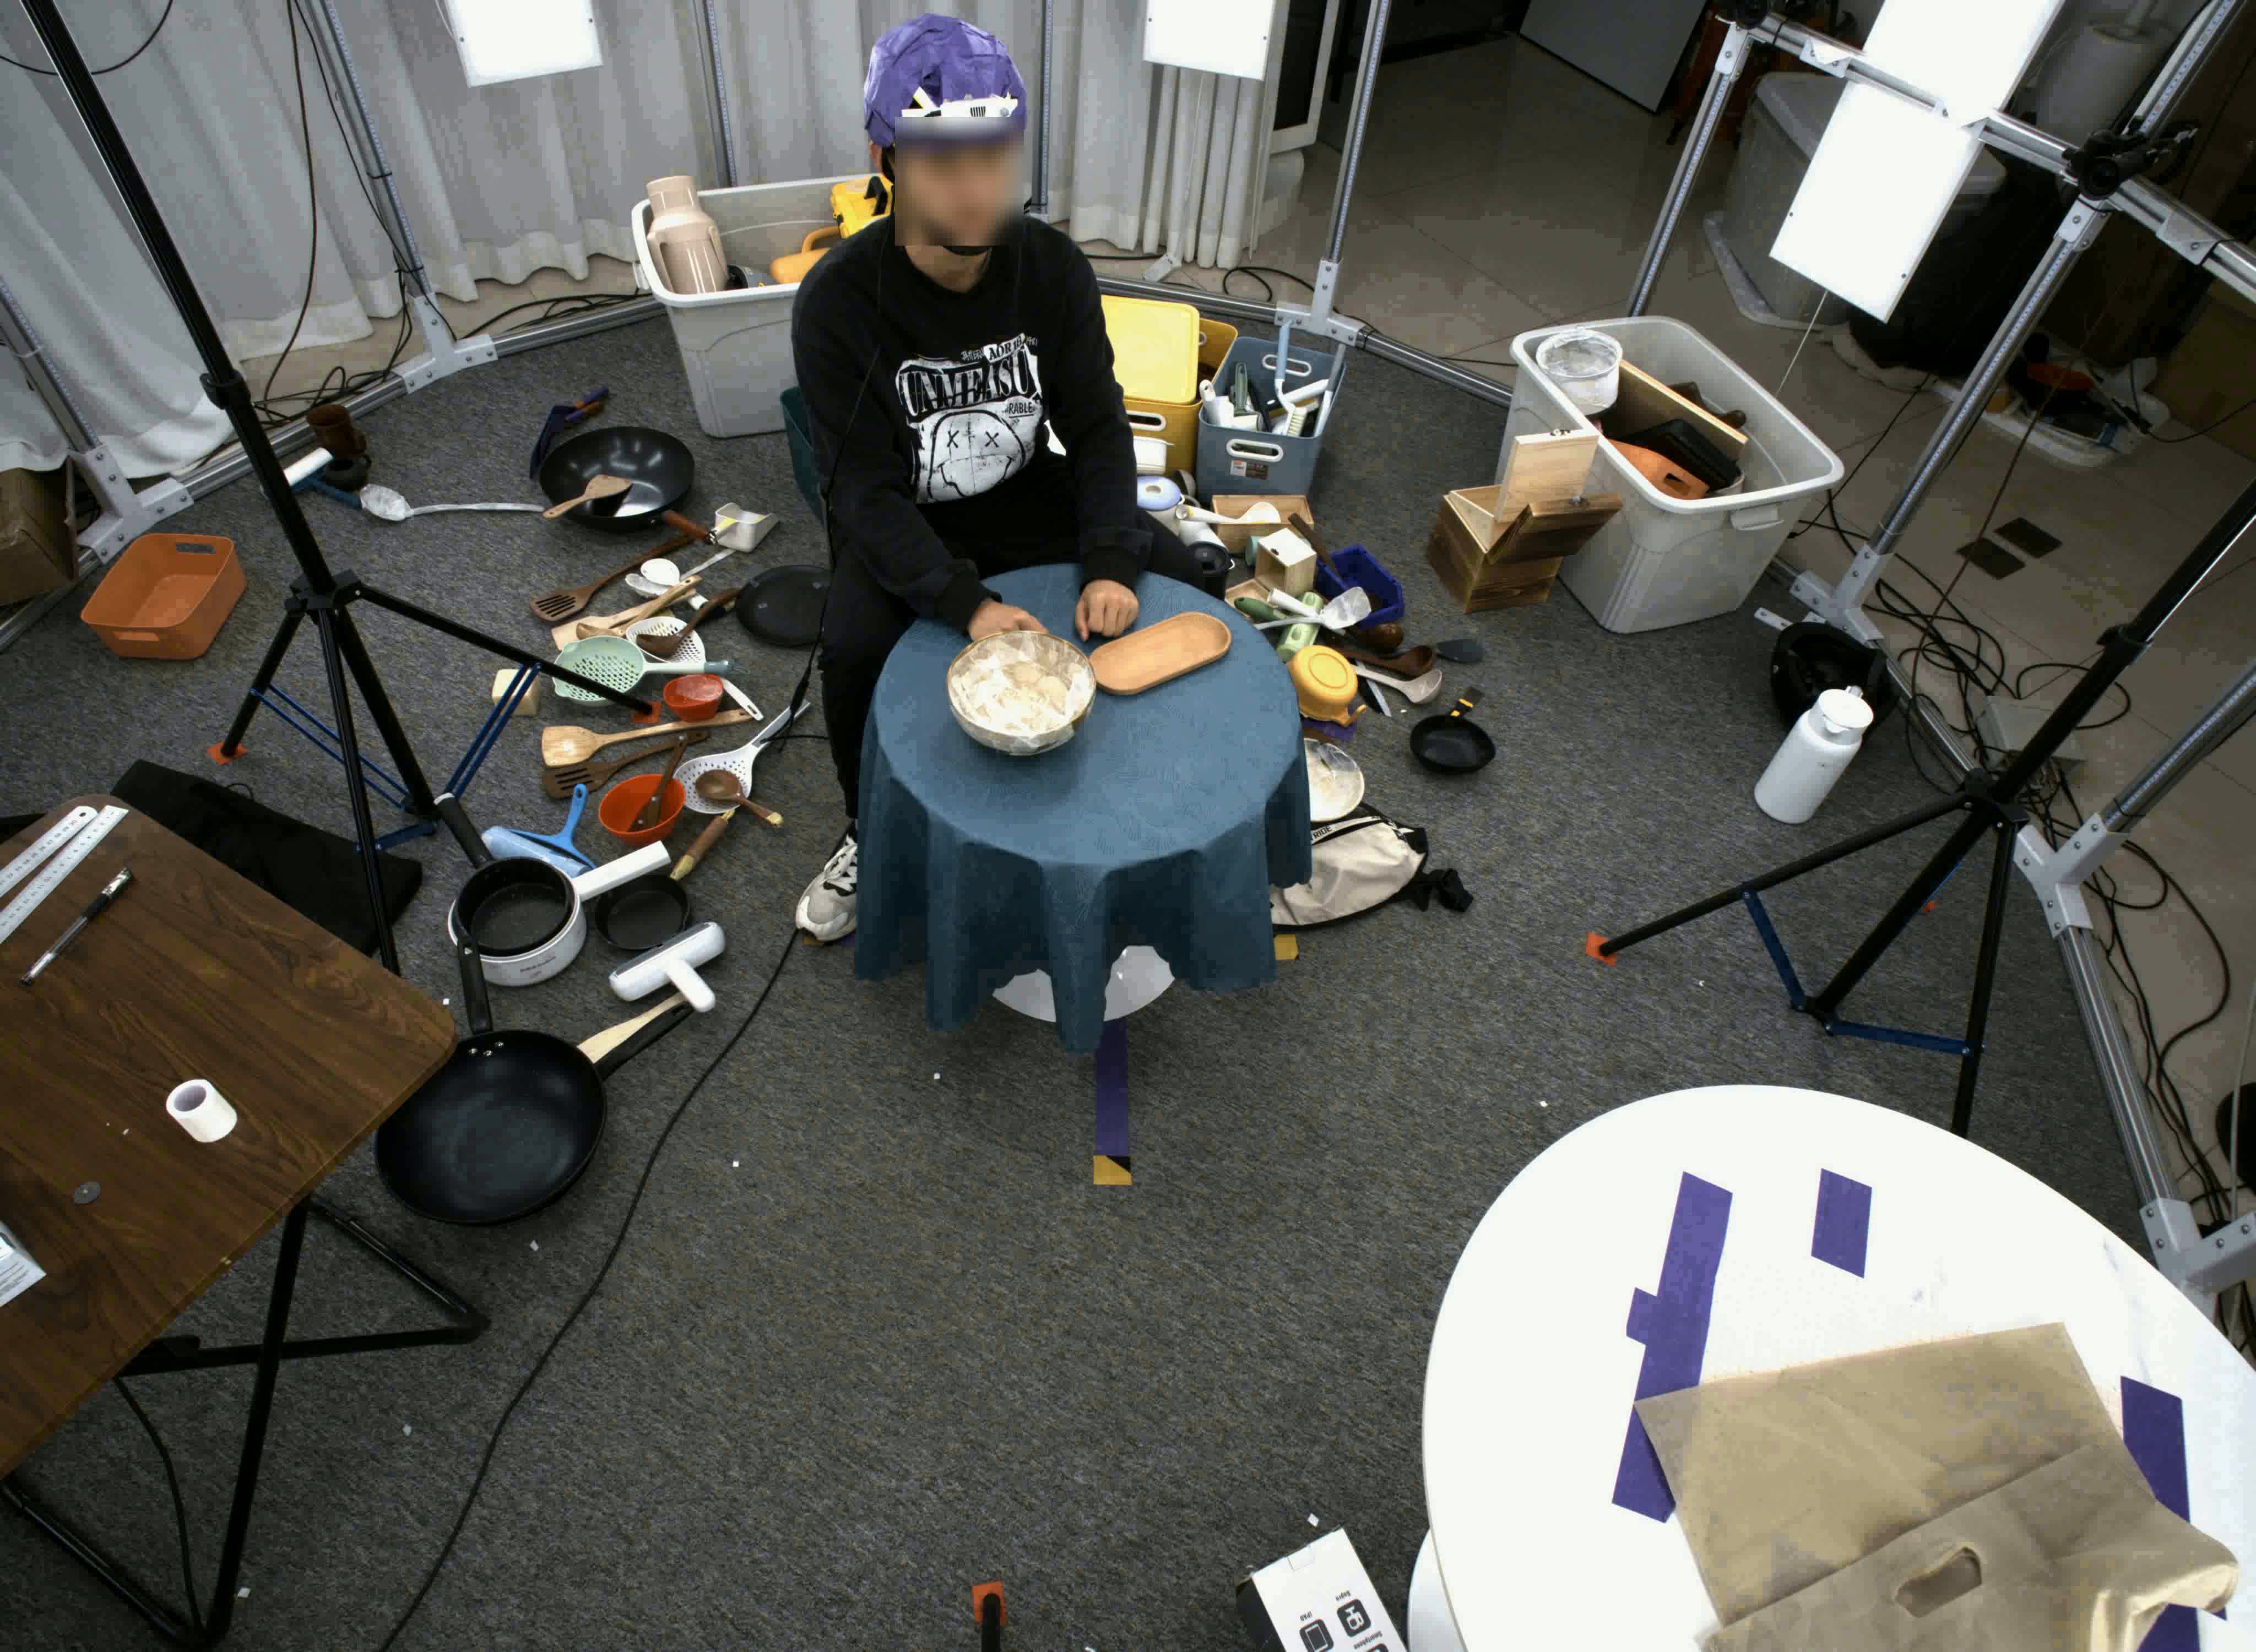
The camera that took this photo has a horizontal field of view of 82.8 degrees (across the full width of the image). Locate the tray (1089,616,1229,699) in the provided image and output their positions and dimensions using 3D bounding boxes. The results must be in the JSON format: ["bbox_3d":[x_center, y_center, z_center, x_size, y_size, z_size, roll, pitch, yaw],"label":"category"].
[{"bbox_3d":[0.046,-0.249,1.895,0.232,0.020,0.104,-27,54,-22],"label":"tray"}]

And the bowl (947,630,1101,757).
[{"bbox_3d":[-0.141,-0.168,1.761,0.214,0.092,0.220,1,49,-2],"label":"bowl"}]
